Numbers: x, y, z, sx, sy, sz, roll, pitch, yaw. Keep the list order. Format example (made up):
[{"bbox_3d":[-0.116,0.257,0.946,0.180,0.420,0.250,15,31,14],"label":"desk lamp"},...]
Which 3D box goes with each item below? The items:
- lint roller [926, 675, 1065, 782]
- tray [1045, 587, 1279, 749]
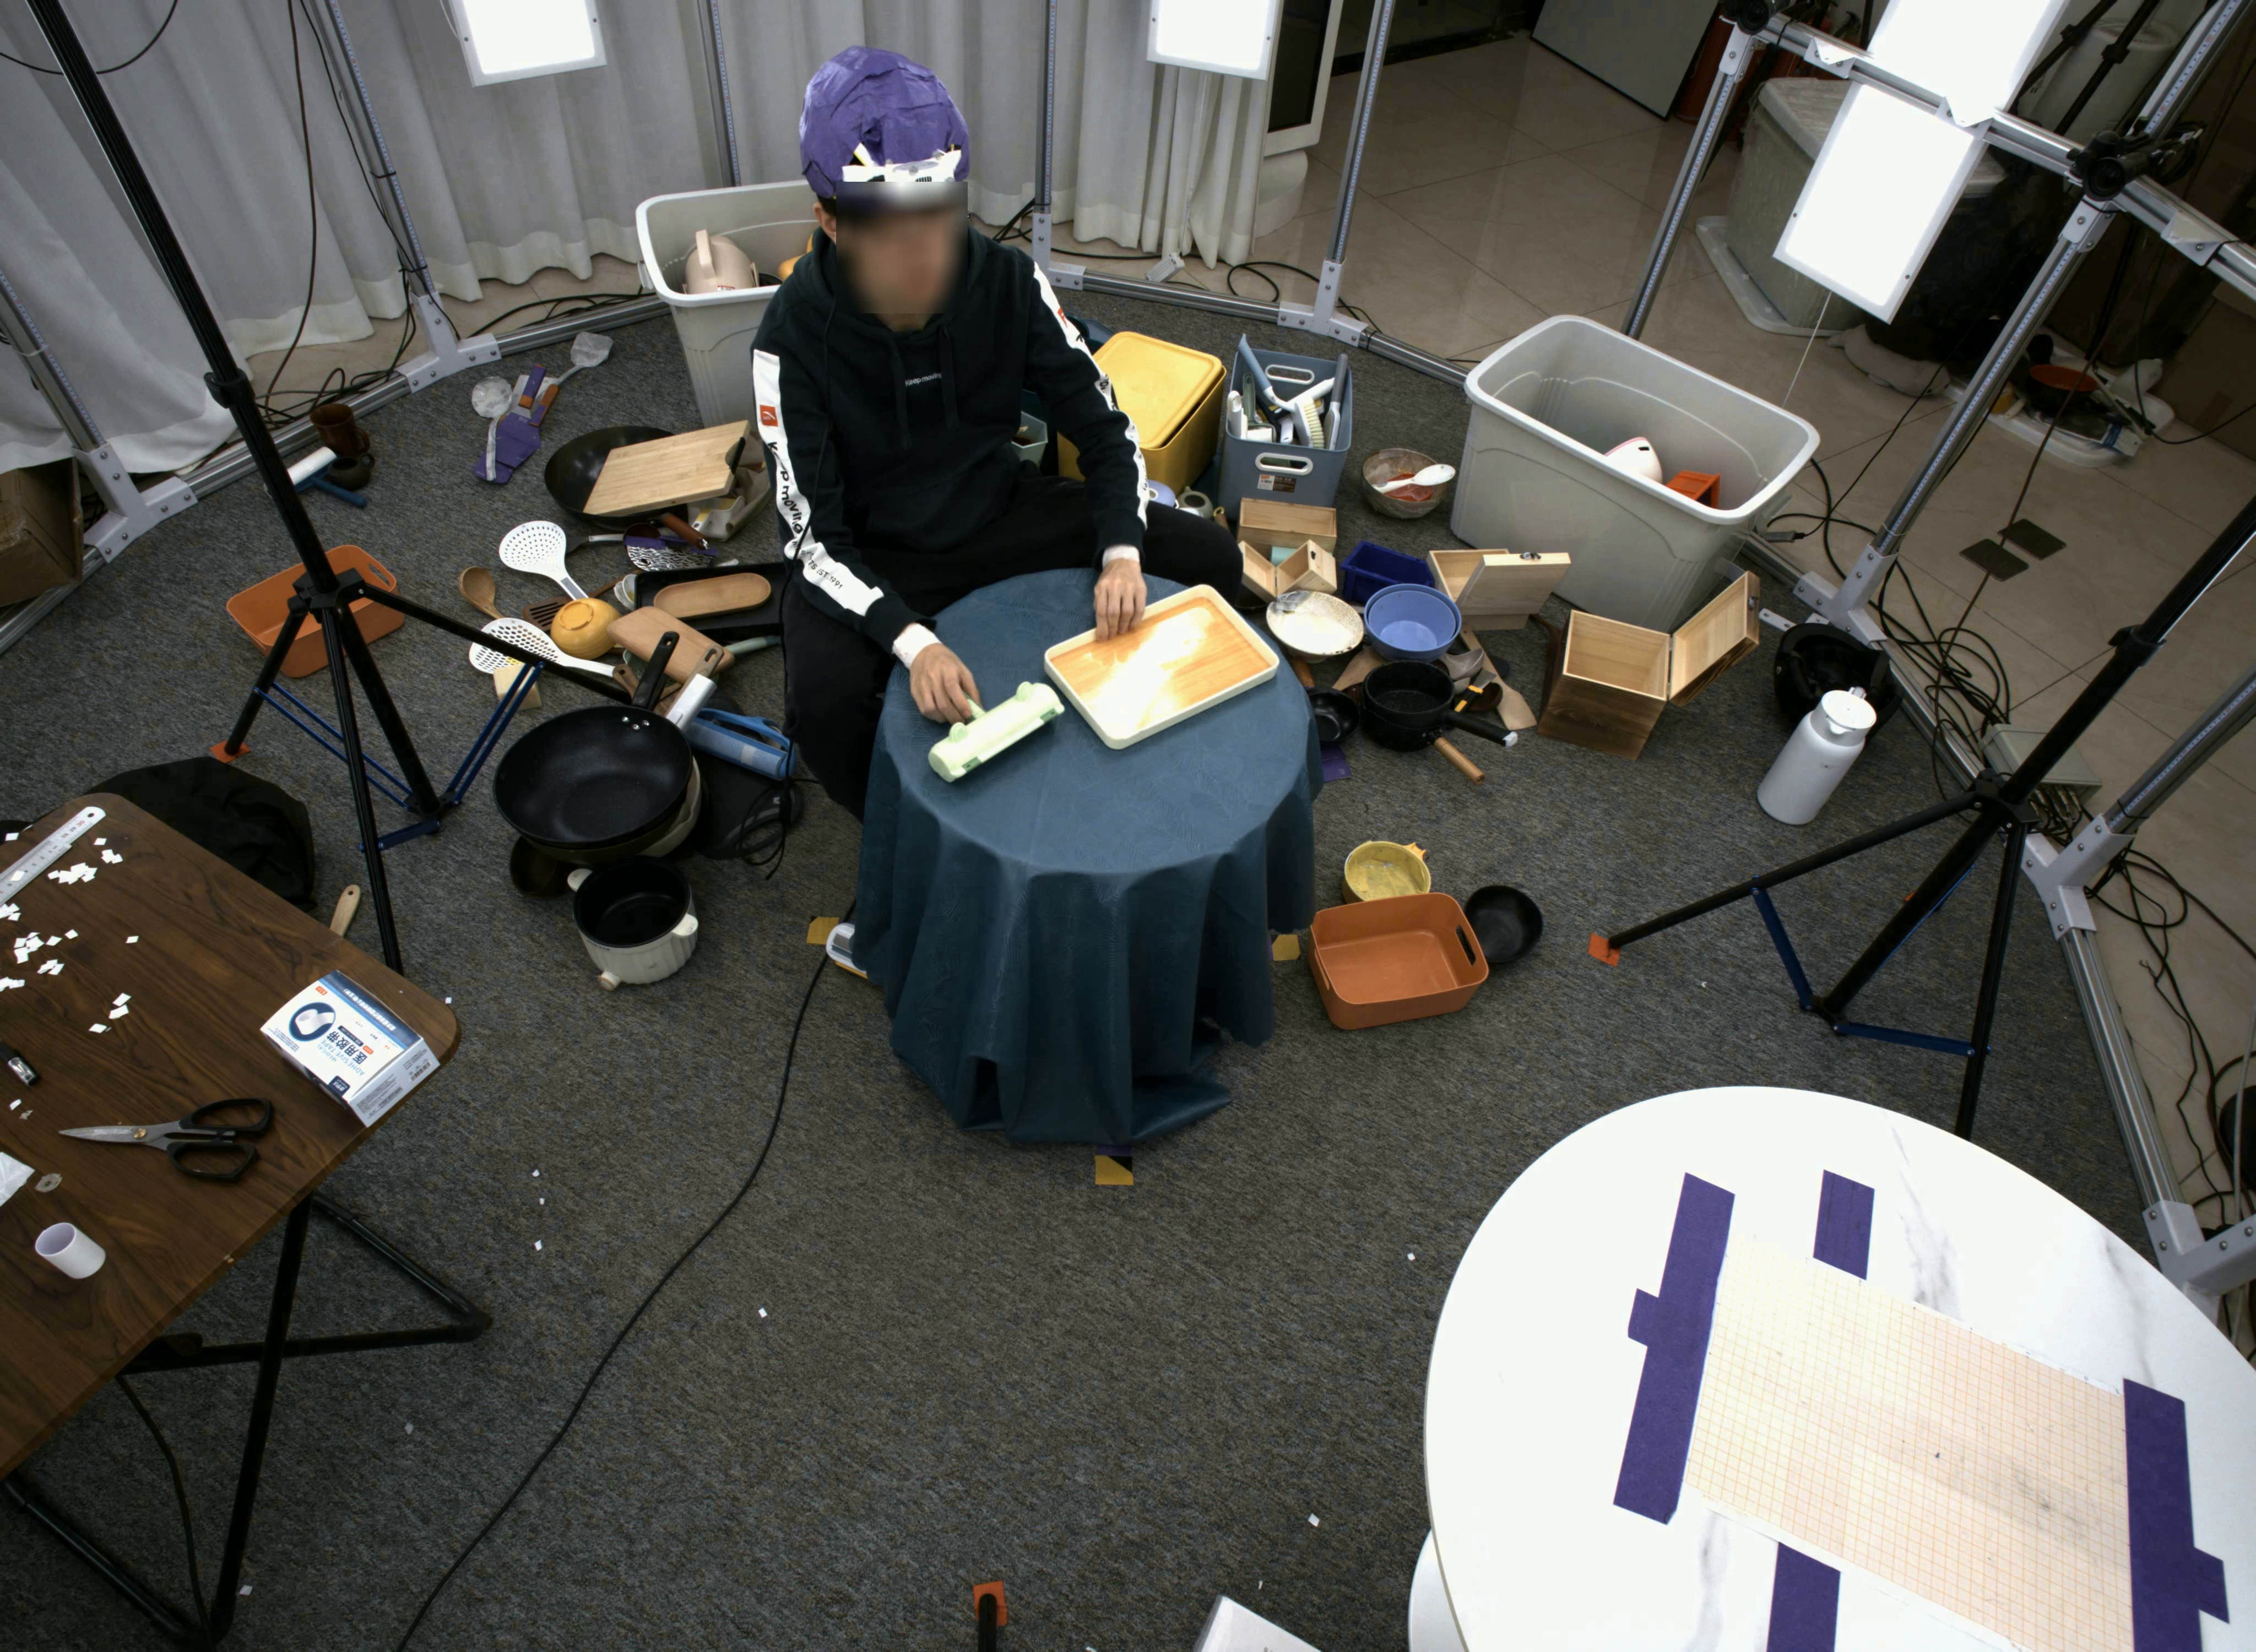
[{"bbox_3d":[-0.215,-0.166,1.747,0.200,0.080,0.186,-34,64,-28],"label":"lint roller"},{"bbox_3d":[0.050,-0.233,1.848,0.302,0.027,0.195,-26,59,-24],"label":"tray"}]
